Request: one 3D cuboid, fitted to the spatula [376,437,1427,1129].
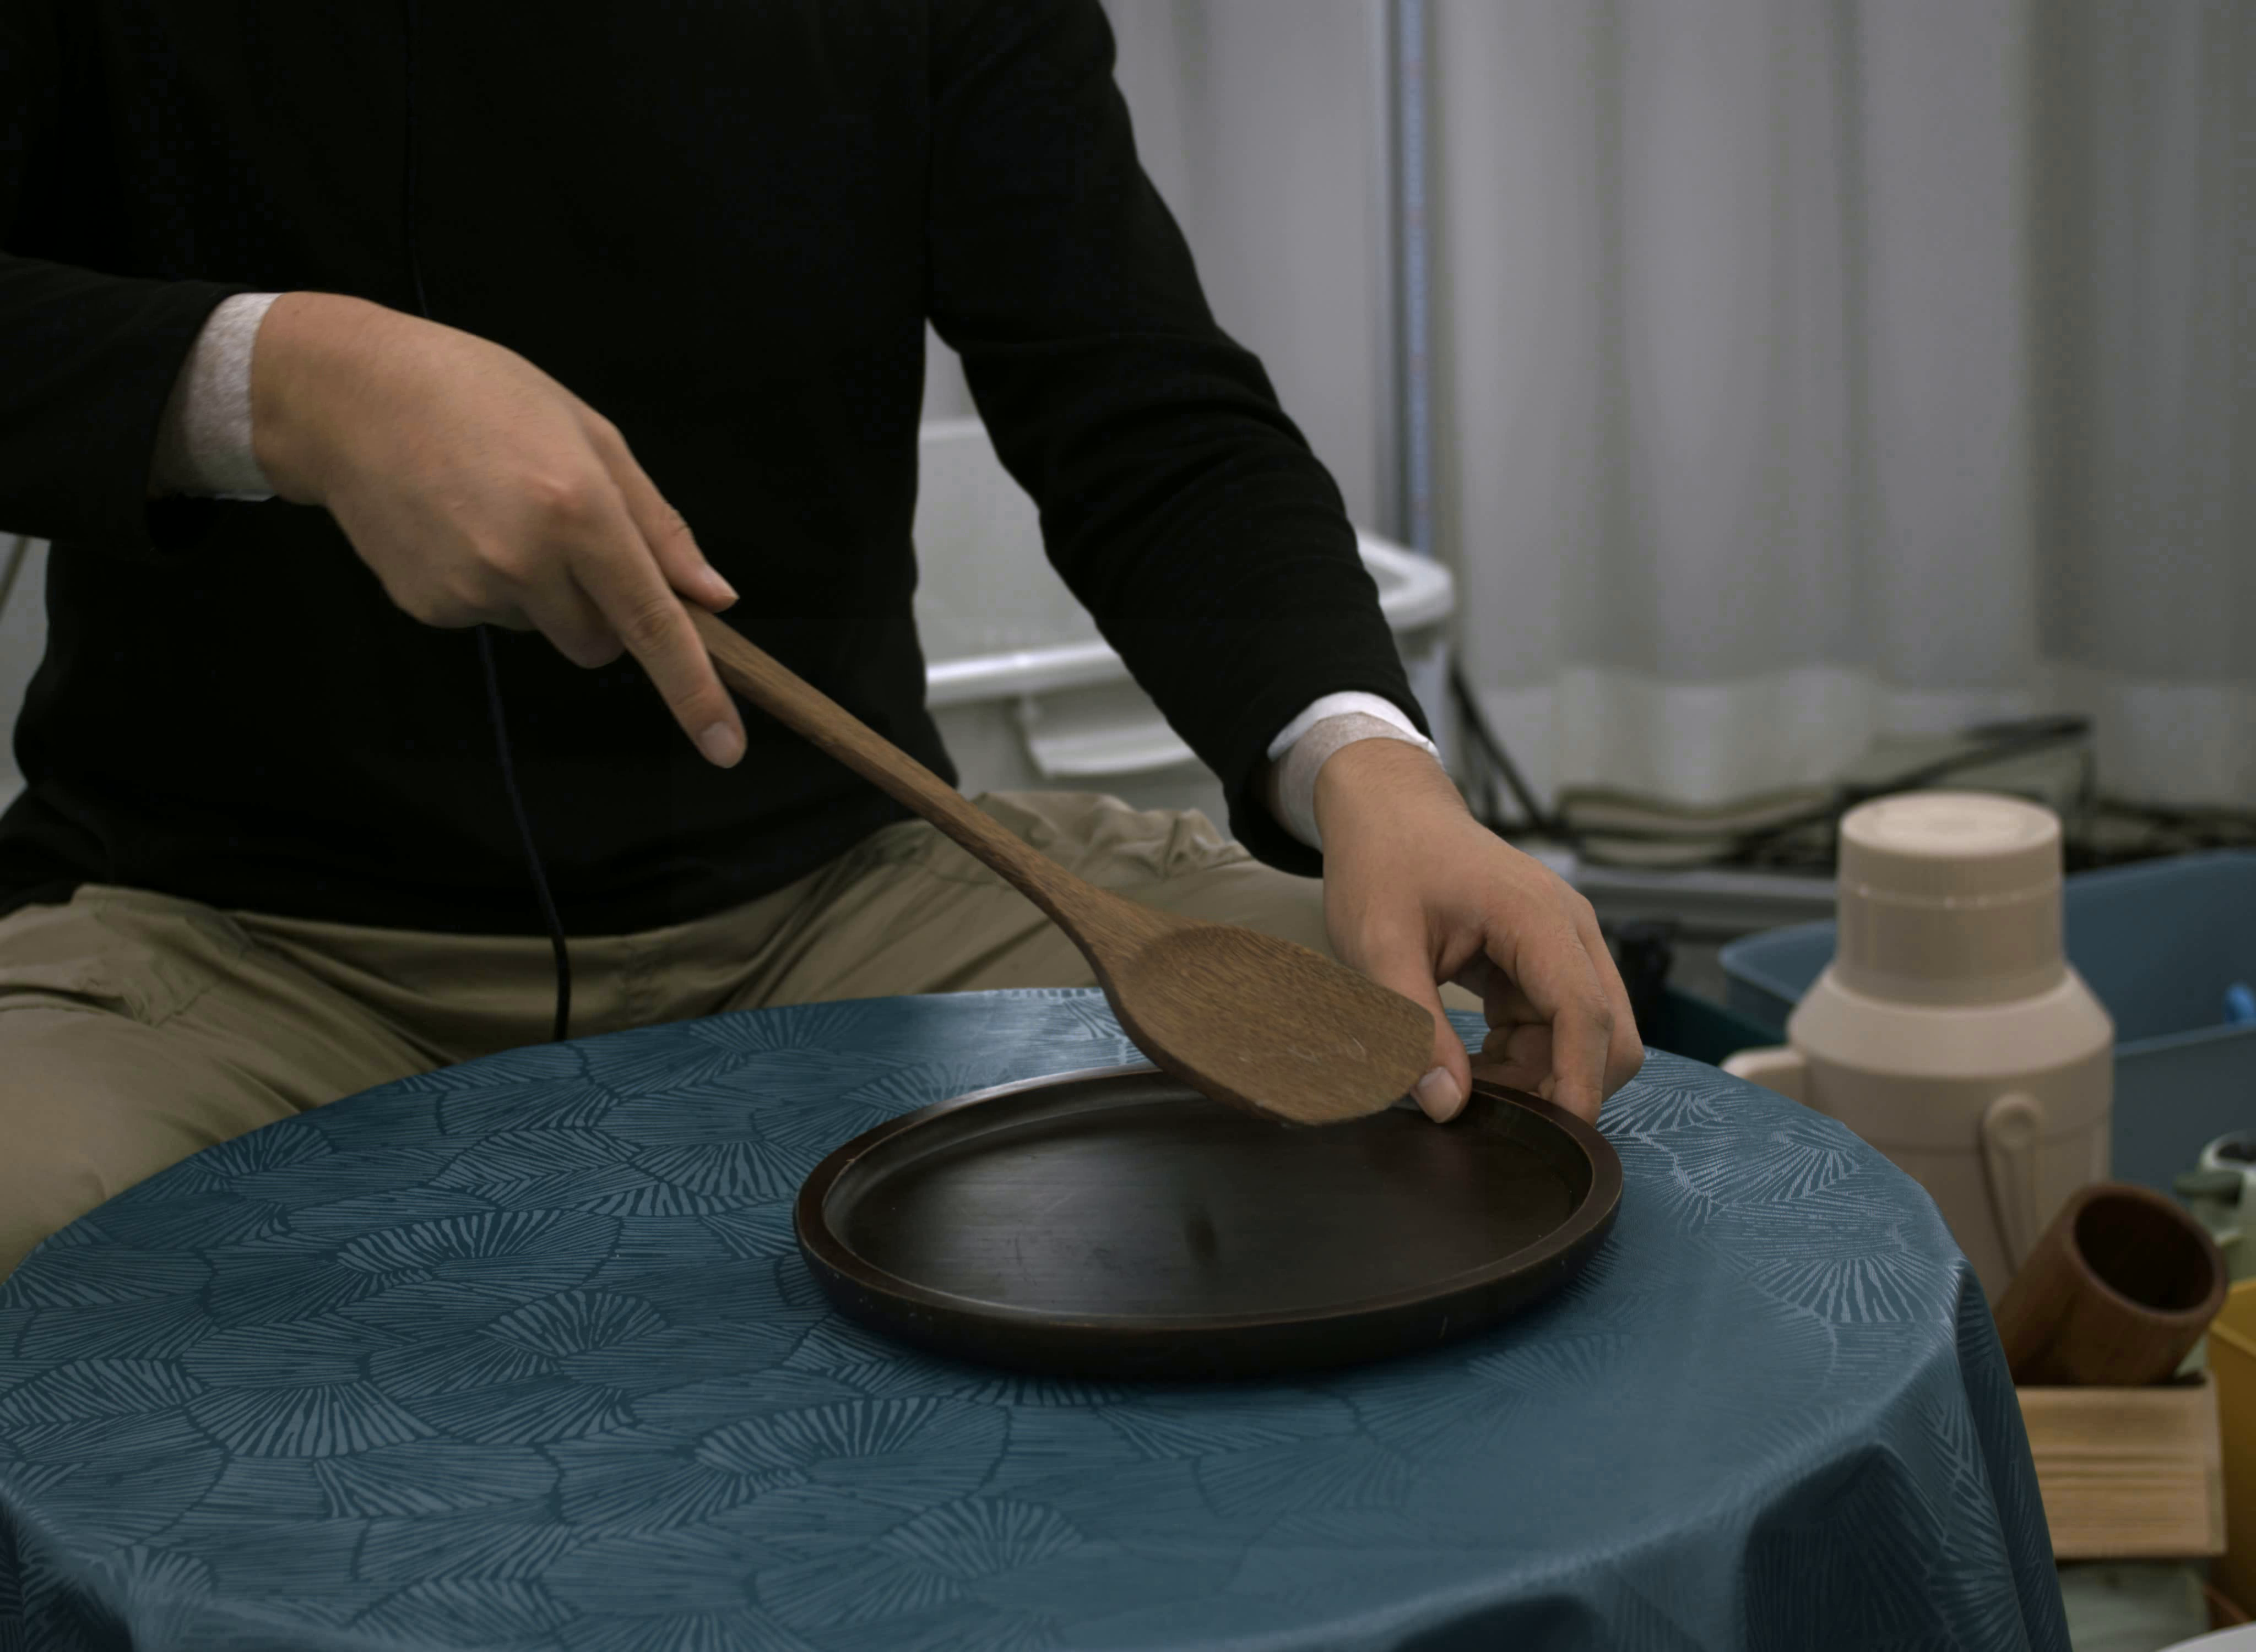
[{"bbox_3d":[-0.078,-0.020,1.665,0.388,0.015,0.096,34,33,16],"label":"spatula"}]

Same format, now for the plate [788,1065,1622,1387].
[{"bbox_3d":[0.024,0.117,1.653,0.254,0.029,0.256,-4,15,1],"label":"plate"}]
